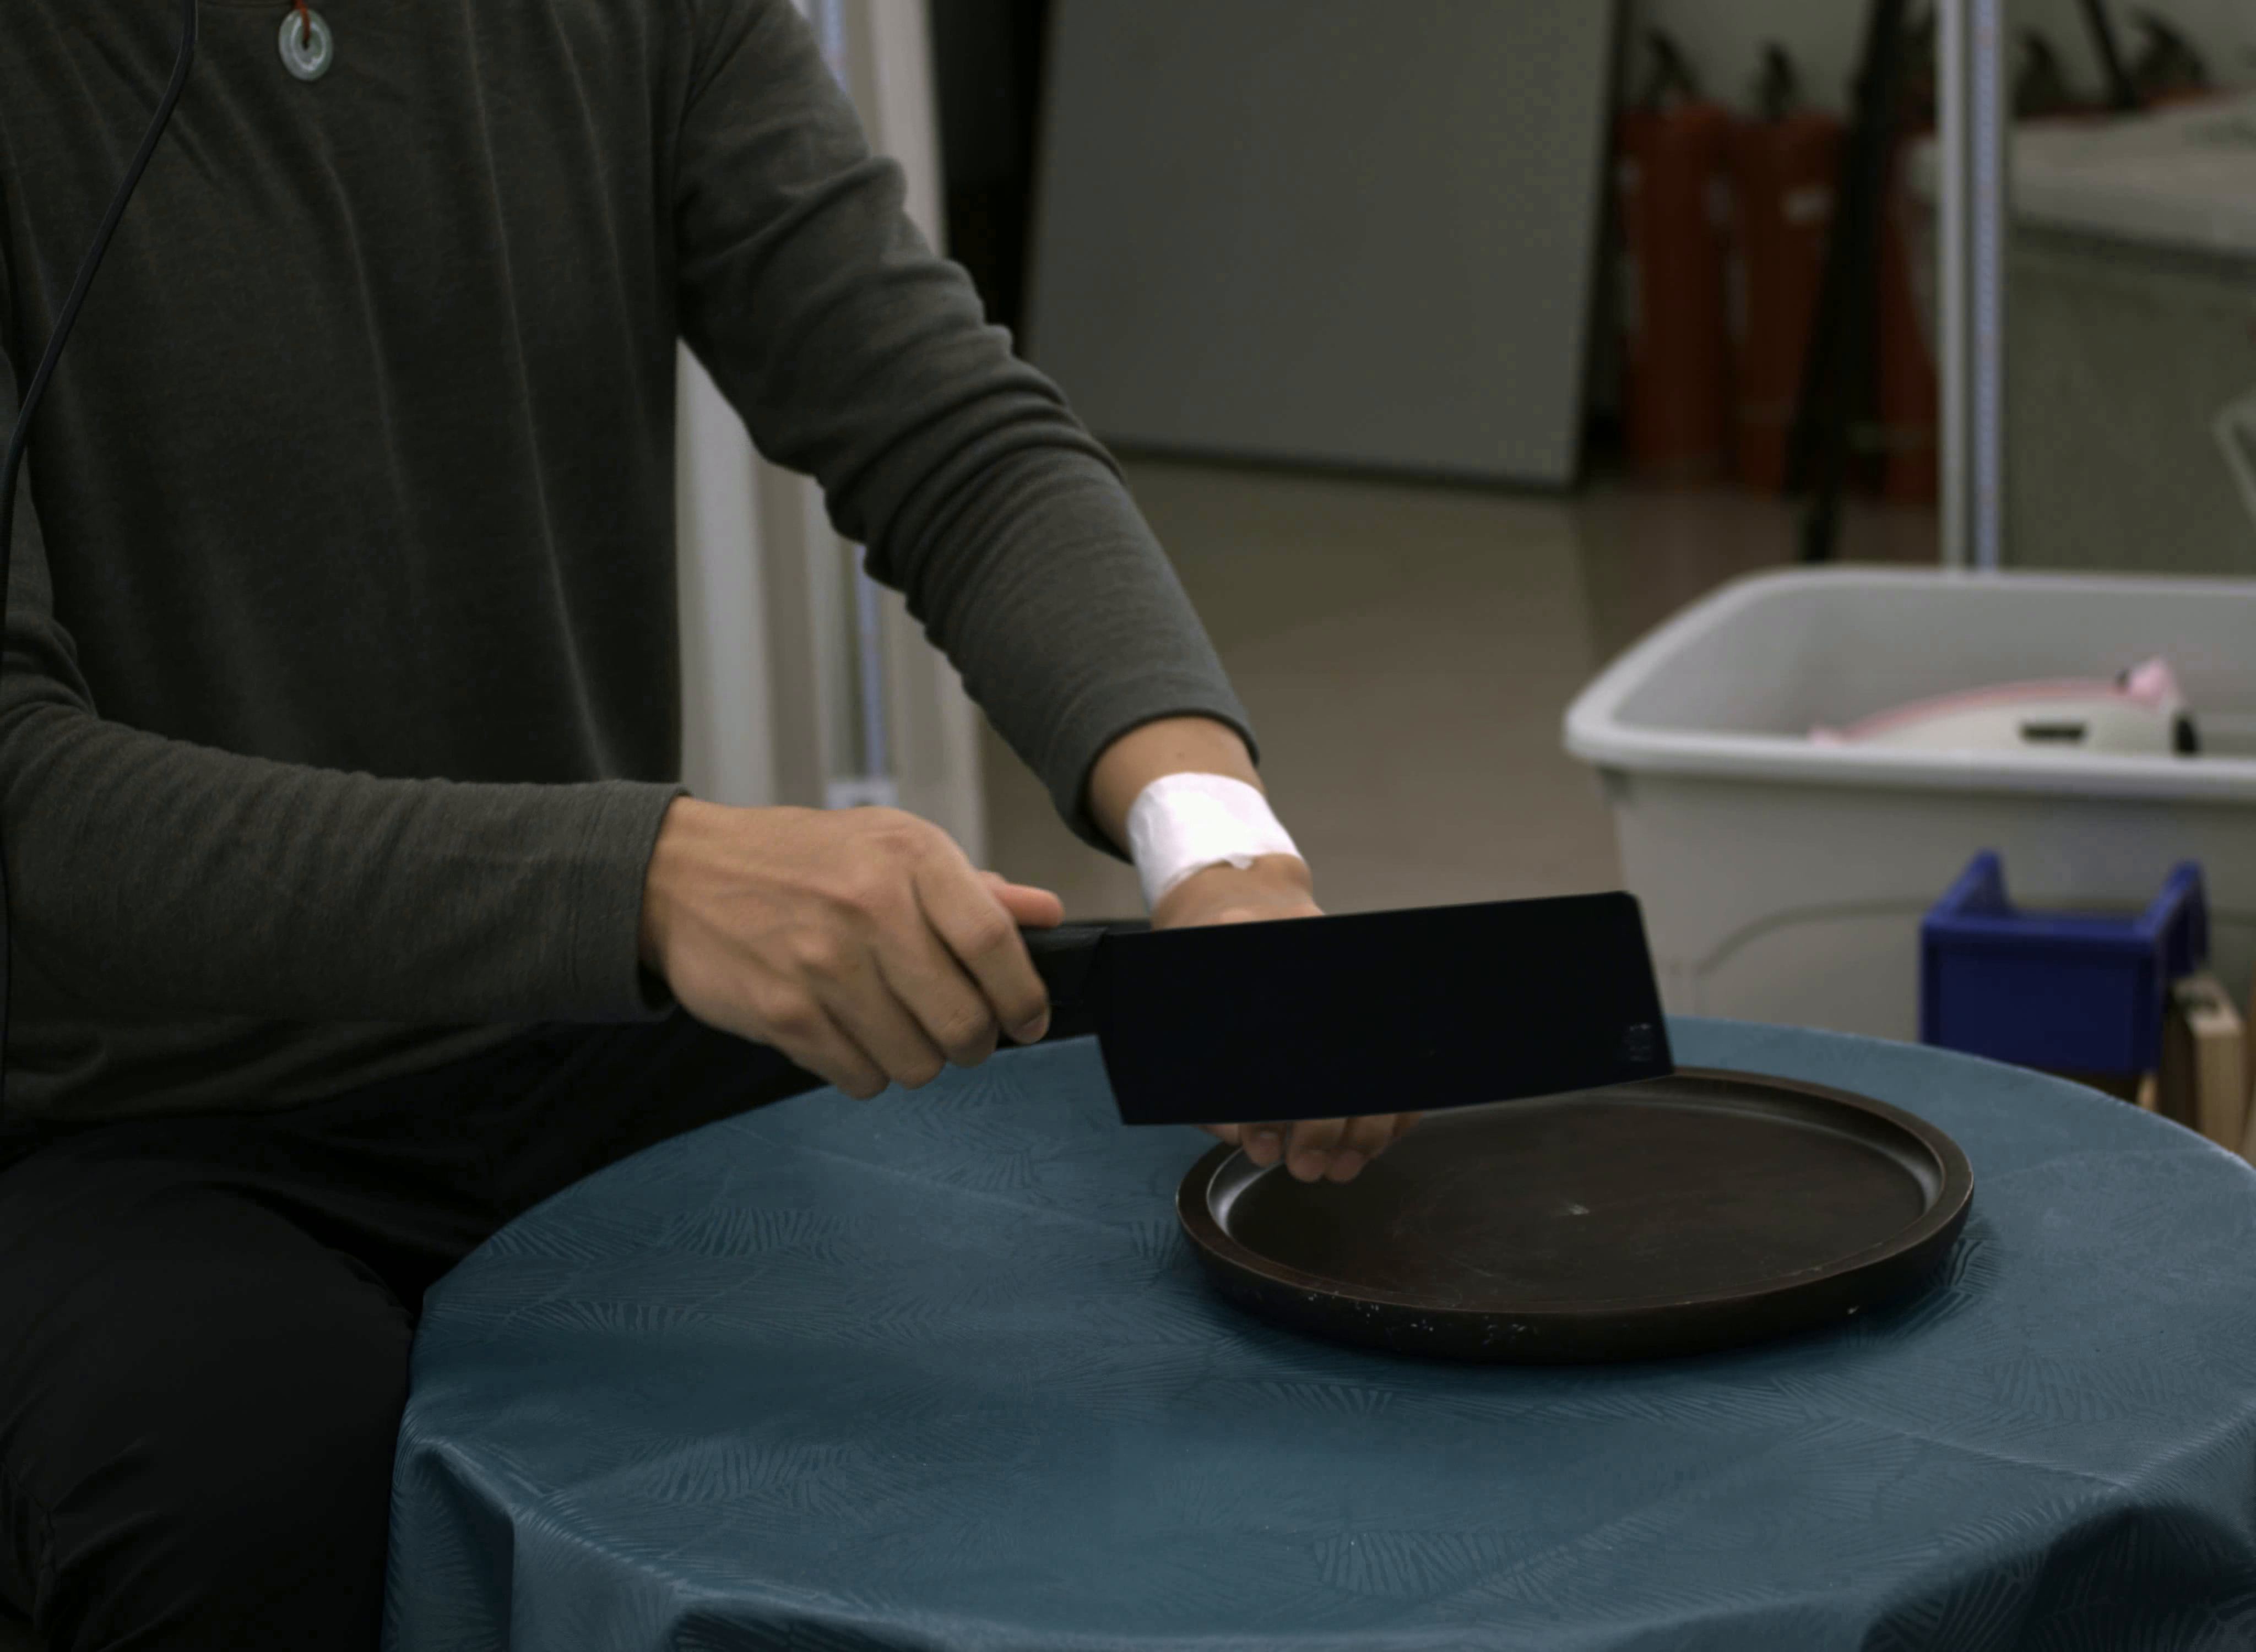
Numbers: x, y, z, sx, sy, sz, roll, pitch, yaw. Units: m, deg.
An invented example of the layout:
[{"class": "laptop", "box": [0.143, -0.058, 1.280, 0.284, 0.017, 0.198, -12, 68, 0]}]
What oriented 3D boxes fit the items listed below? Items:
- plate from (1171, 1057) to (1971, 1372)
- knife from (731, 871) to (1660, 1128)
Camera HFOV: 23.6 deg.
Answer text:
[{"class": "plate", "box": [0.138, 0.121, 1.687, 0.251, 0.029, 0.255, -5, 15, 0]}, {"class": "knife", "box": [0.014, 0.054, 1.607, 0.303, 0.081, 0.020, -2, 21, 26]}]
